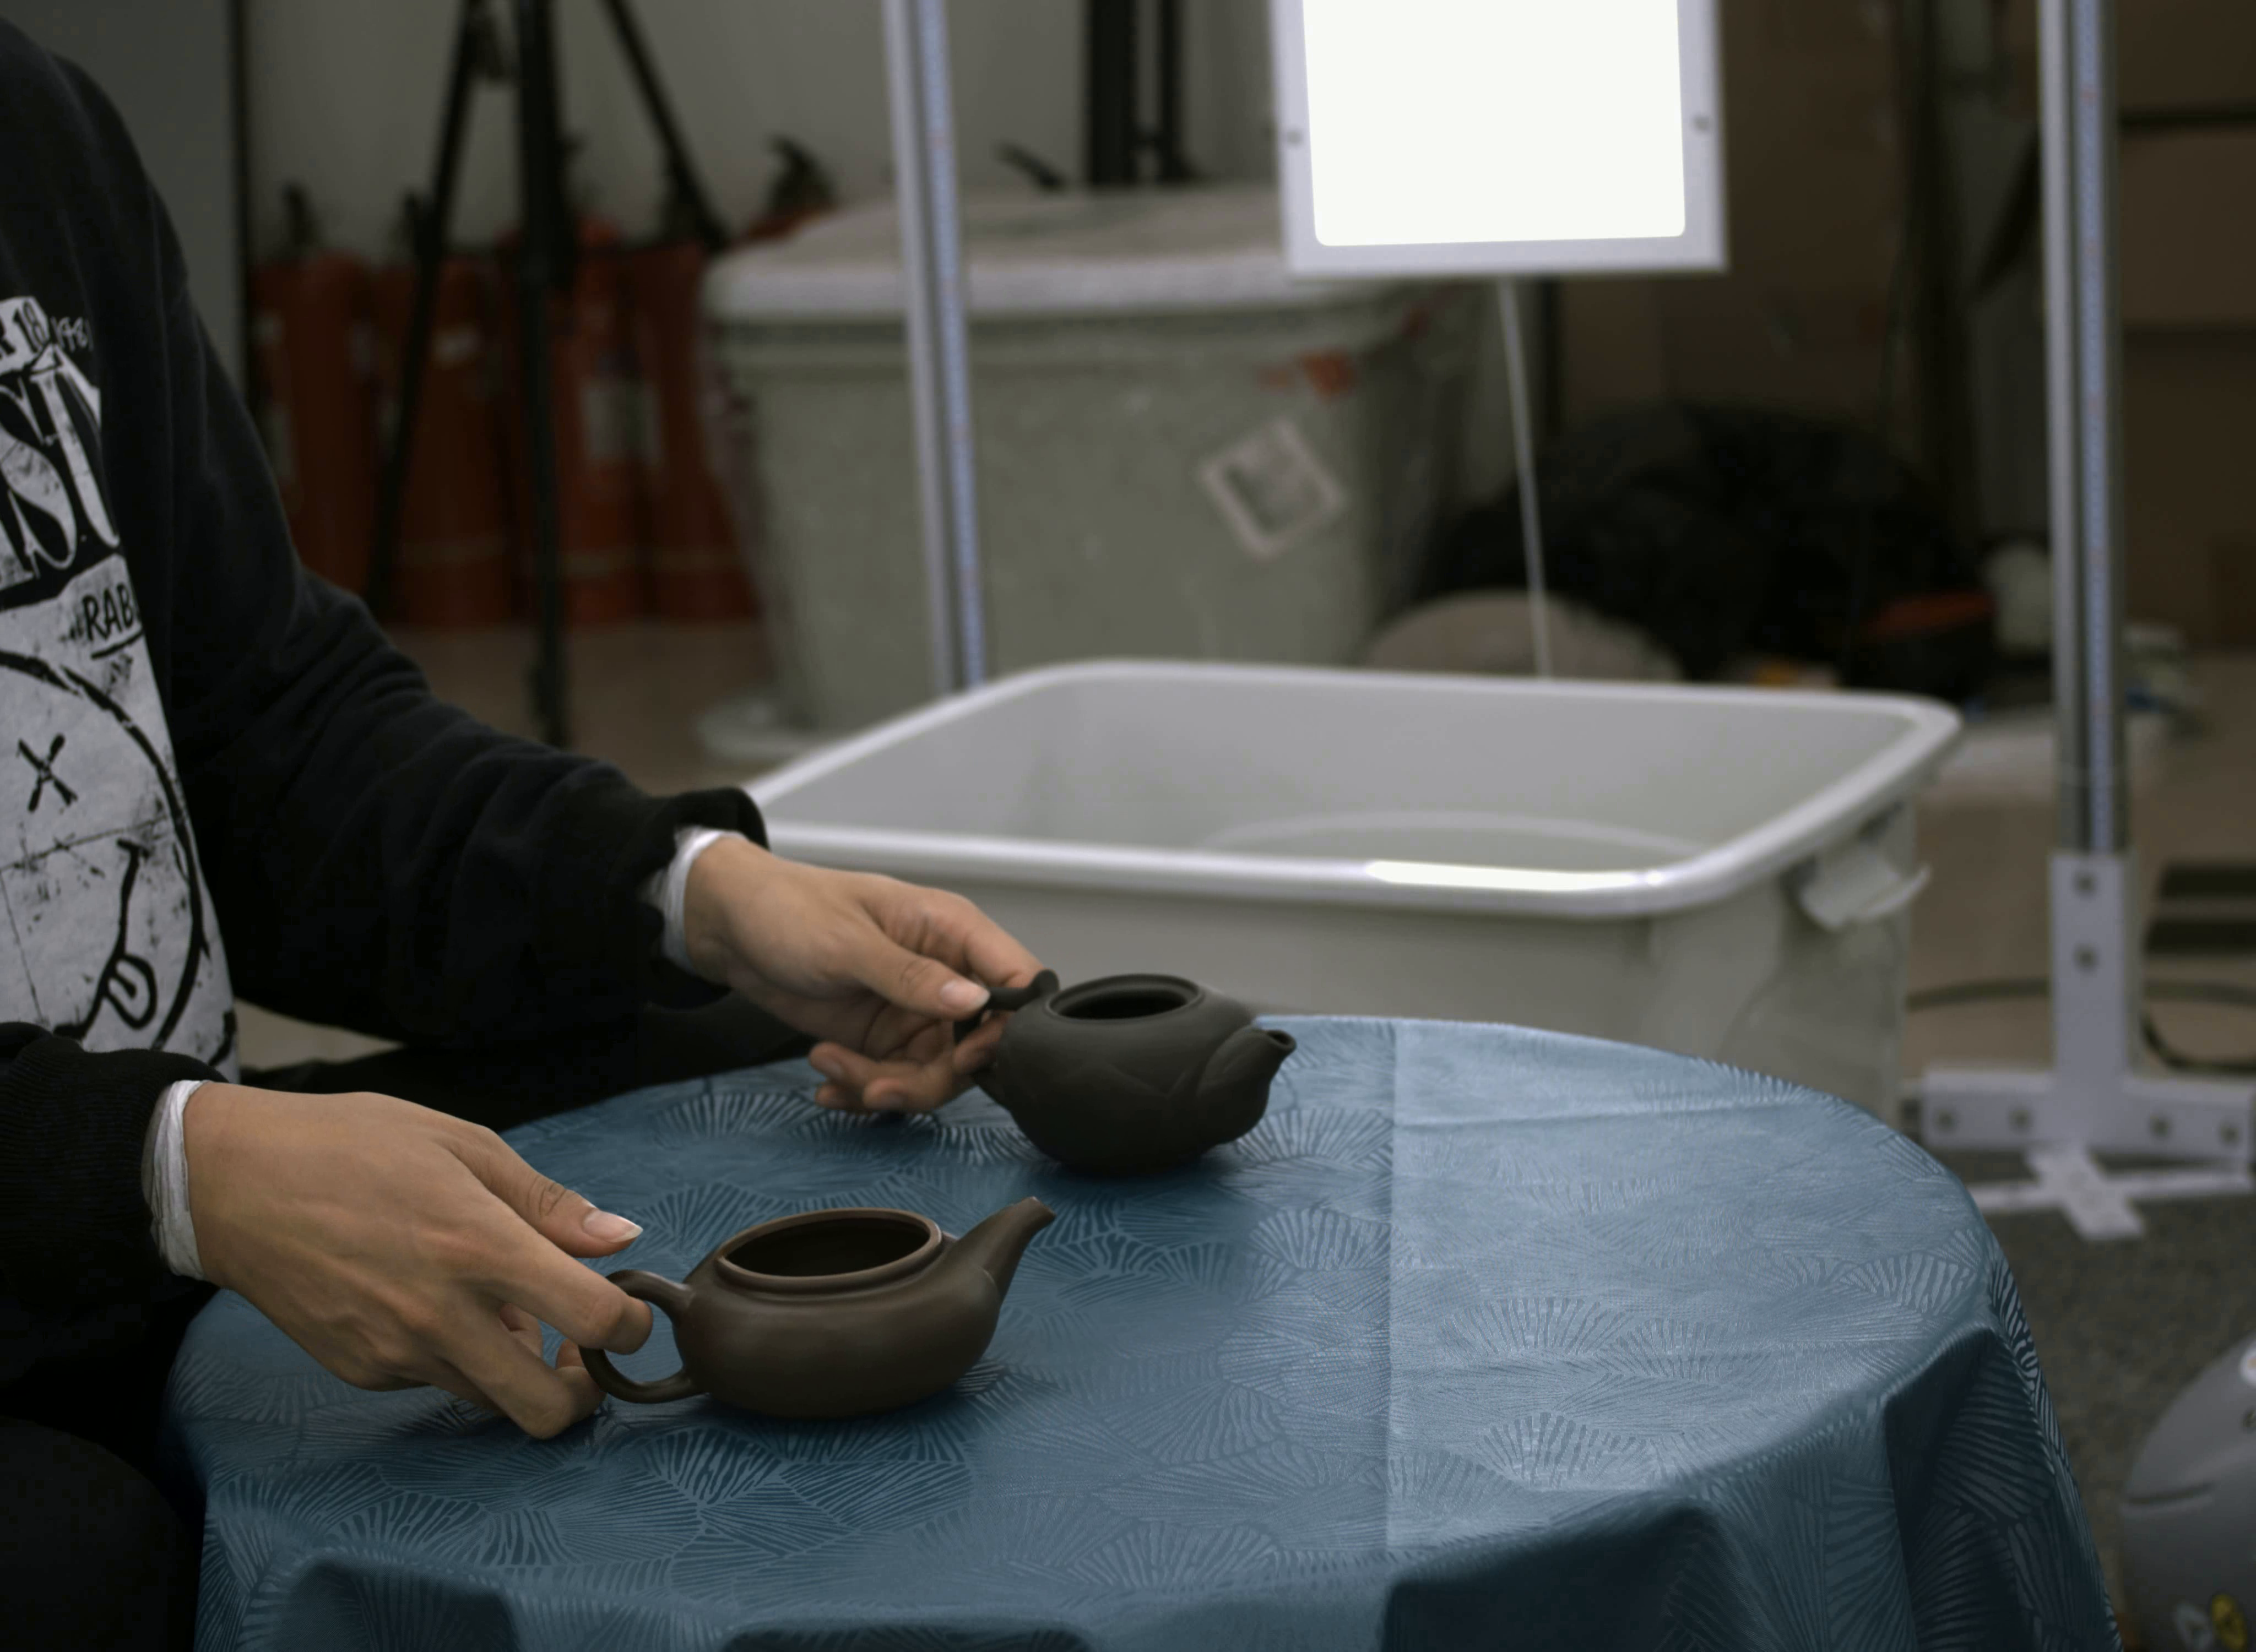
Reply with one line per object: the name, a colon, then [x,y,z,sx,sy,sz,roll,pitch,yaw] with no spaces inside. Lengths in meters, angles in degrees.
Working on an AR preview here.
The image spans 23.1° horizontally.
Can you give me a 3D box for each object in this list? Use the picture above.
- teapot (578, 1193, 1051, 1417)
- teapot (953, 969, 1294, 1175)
teapot: [-0.096,0.151,1.721,0.151,0.054,0.104,-9,12,-16]
teapot: [-0.003,0.085,1.933,0.157,0.064,0.090,8,16,41]
